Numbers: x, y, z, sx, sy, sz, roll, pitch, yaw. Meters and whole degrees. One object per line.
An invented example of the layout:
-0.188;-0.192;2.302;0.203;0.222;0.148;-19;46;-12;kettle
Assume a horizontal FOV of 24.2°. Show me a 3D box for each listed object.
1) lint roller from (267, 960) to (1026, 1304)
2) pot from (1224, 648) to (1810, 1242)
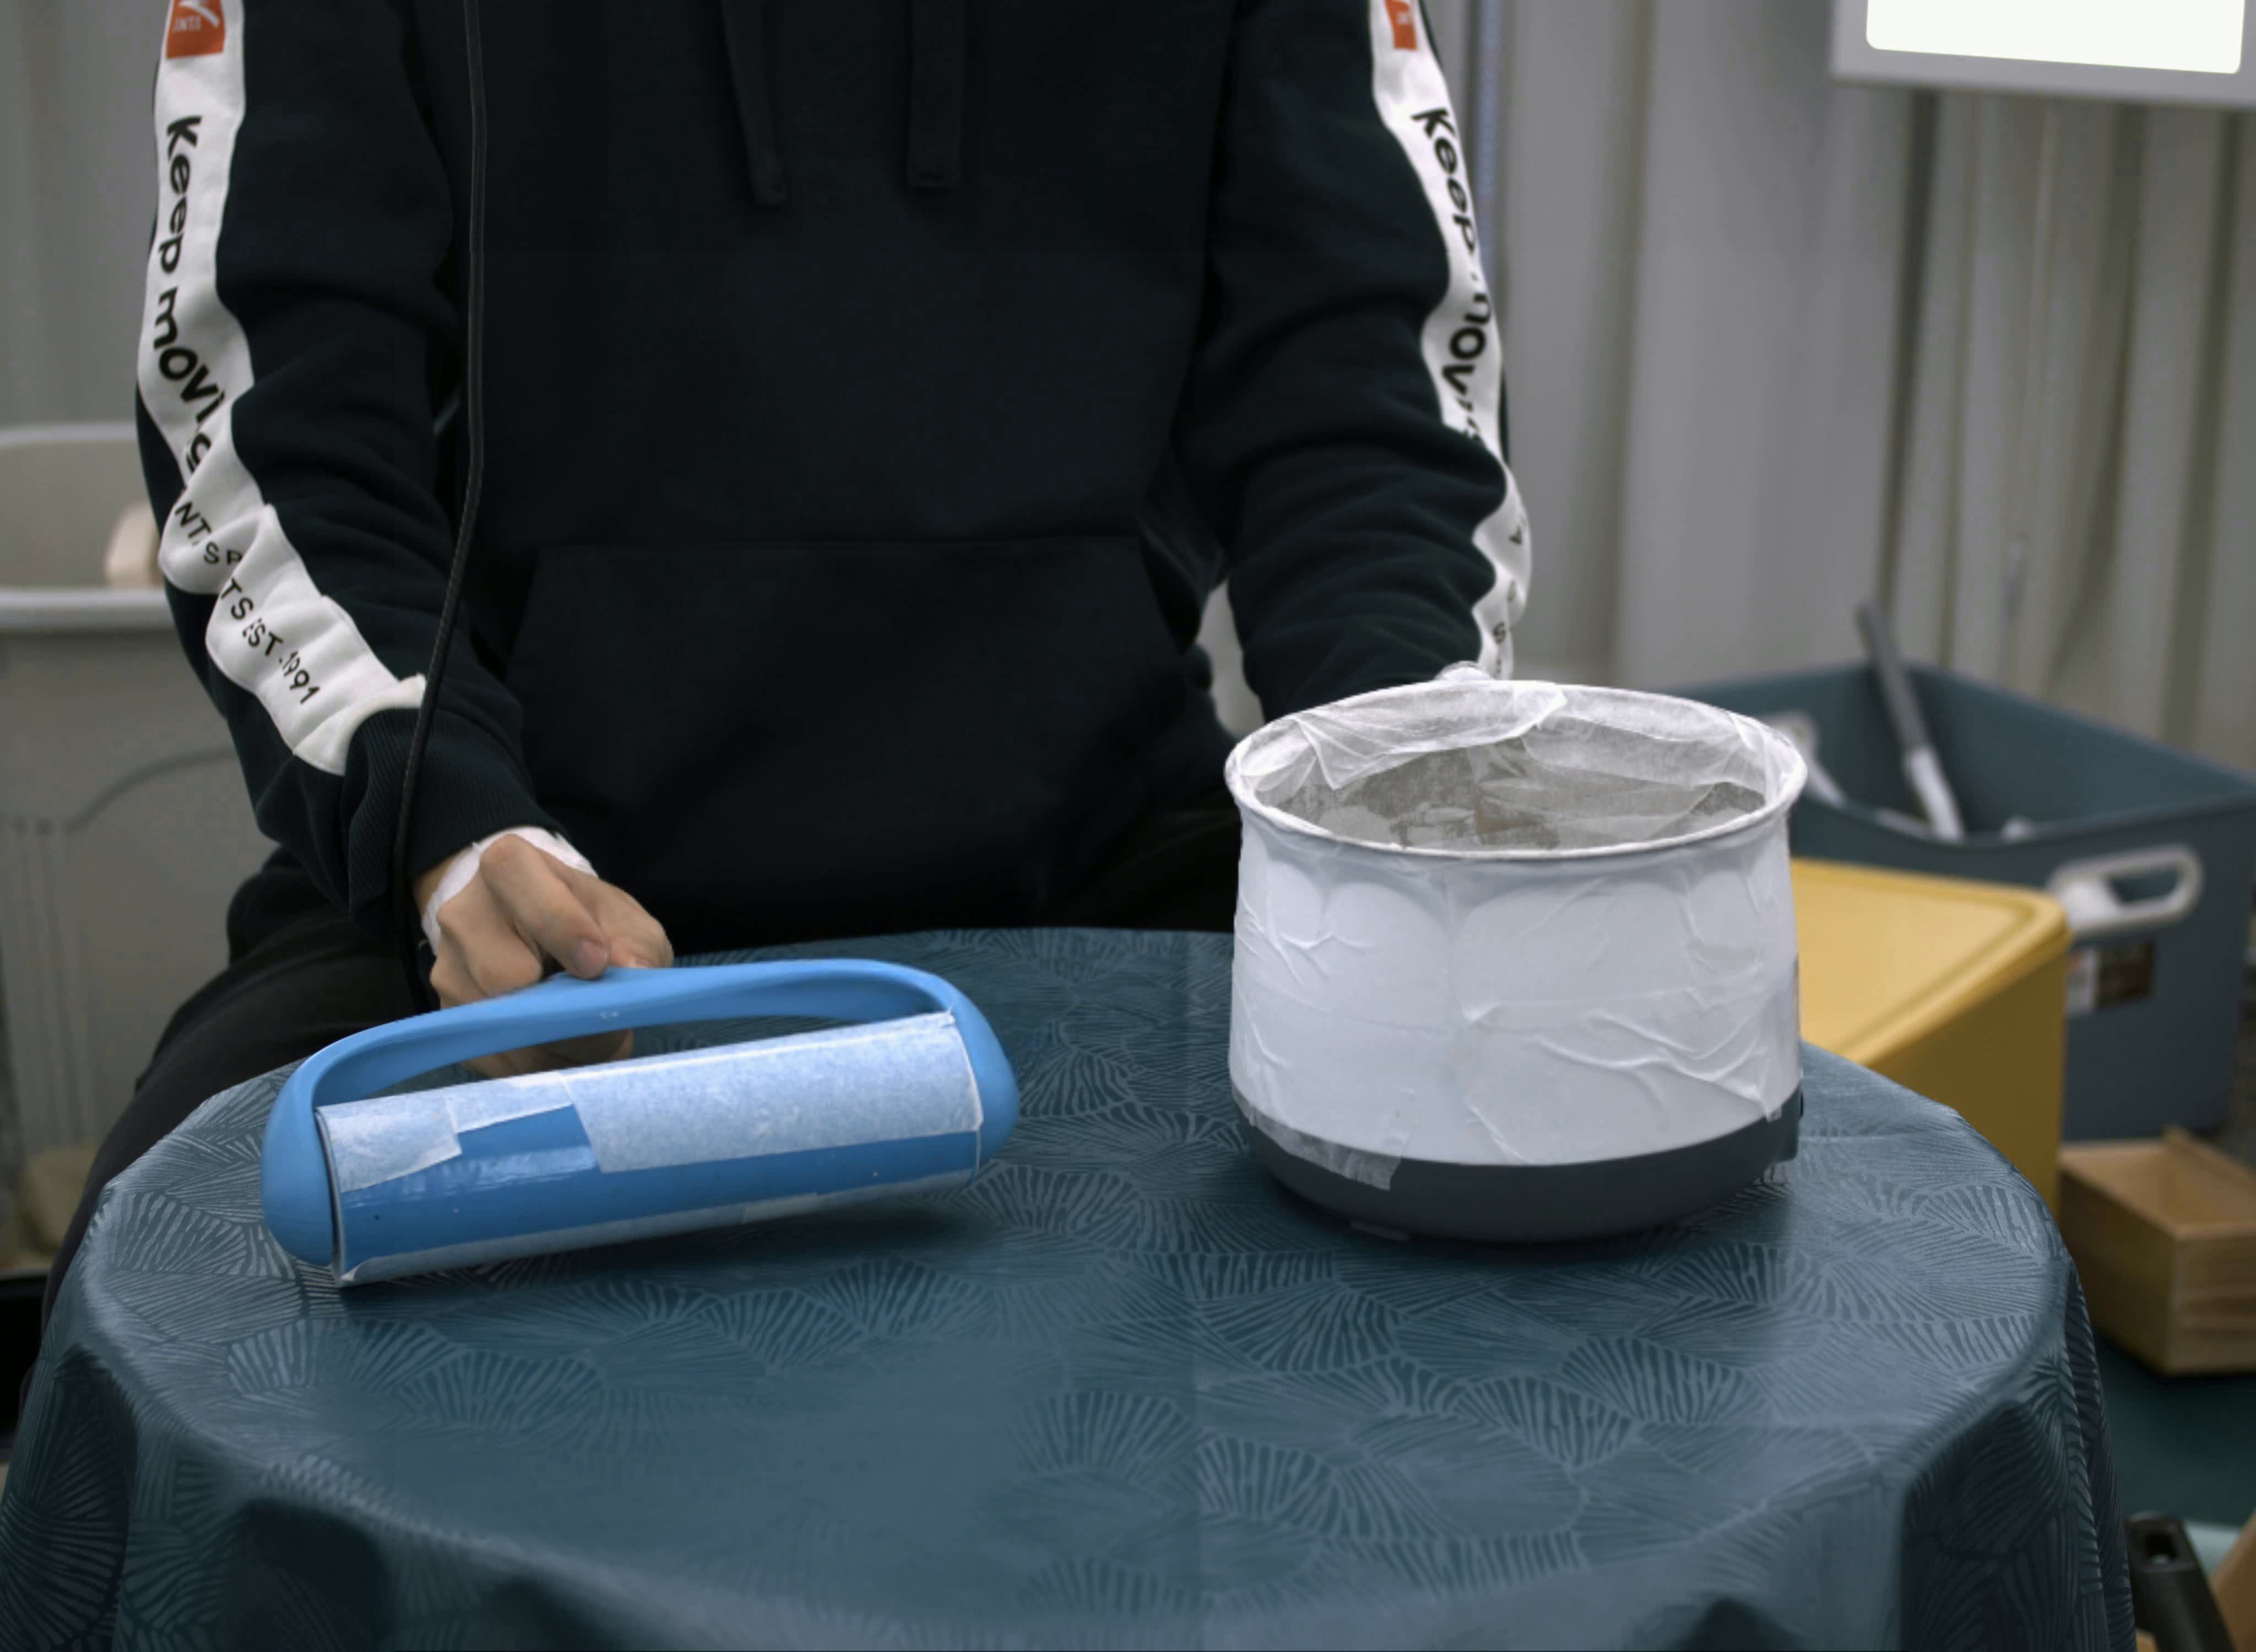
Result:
-0.161;0.077;1.603;0.229;0.068;0.178;-12;22;-19;lint roller
0.115;0.031;1.636;0.178;0.138;0.232;-3;19;-6;pot
